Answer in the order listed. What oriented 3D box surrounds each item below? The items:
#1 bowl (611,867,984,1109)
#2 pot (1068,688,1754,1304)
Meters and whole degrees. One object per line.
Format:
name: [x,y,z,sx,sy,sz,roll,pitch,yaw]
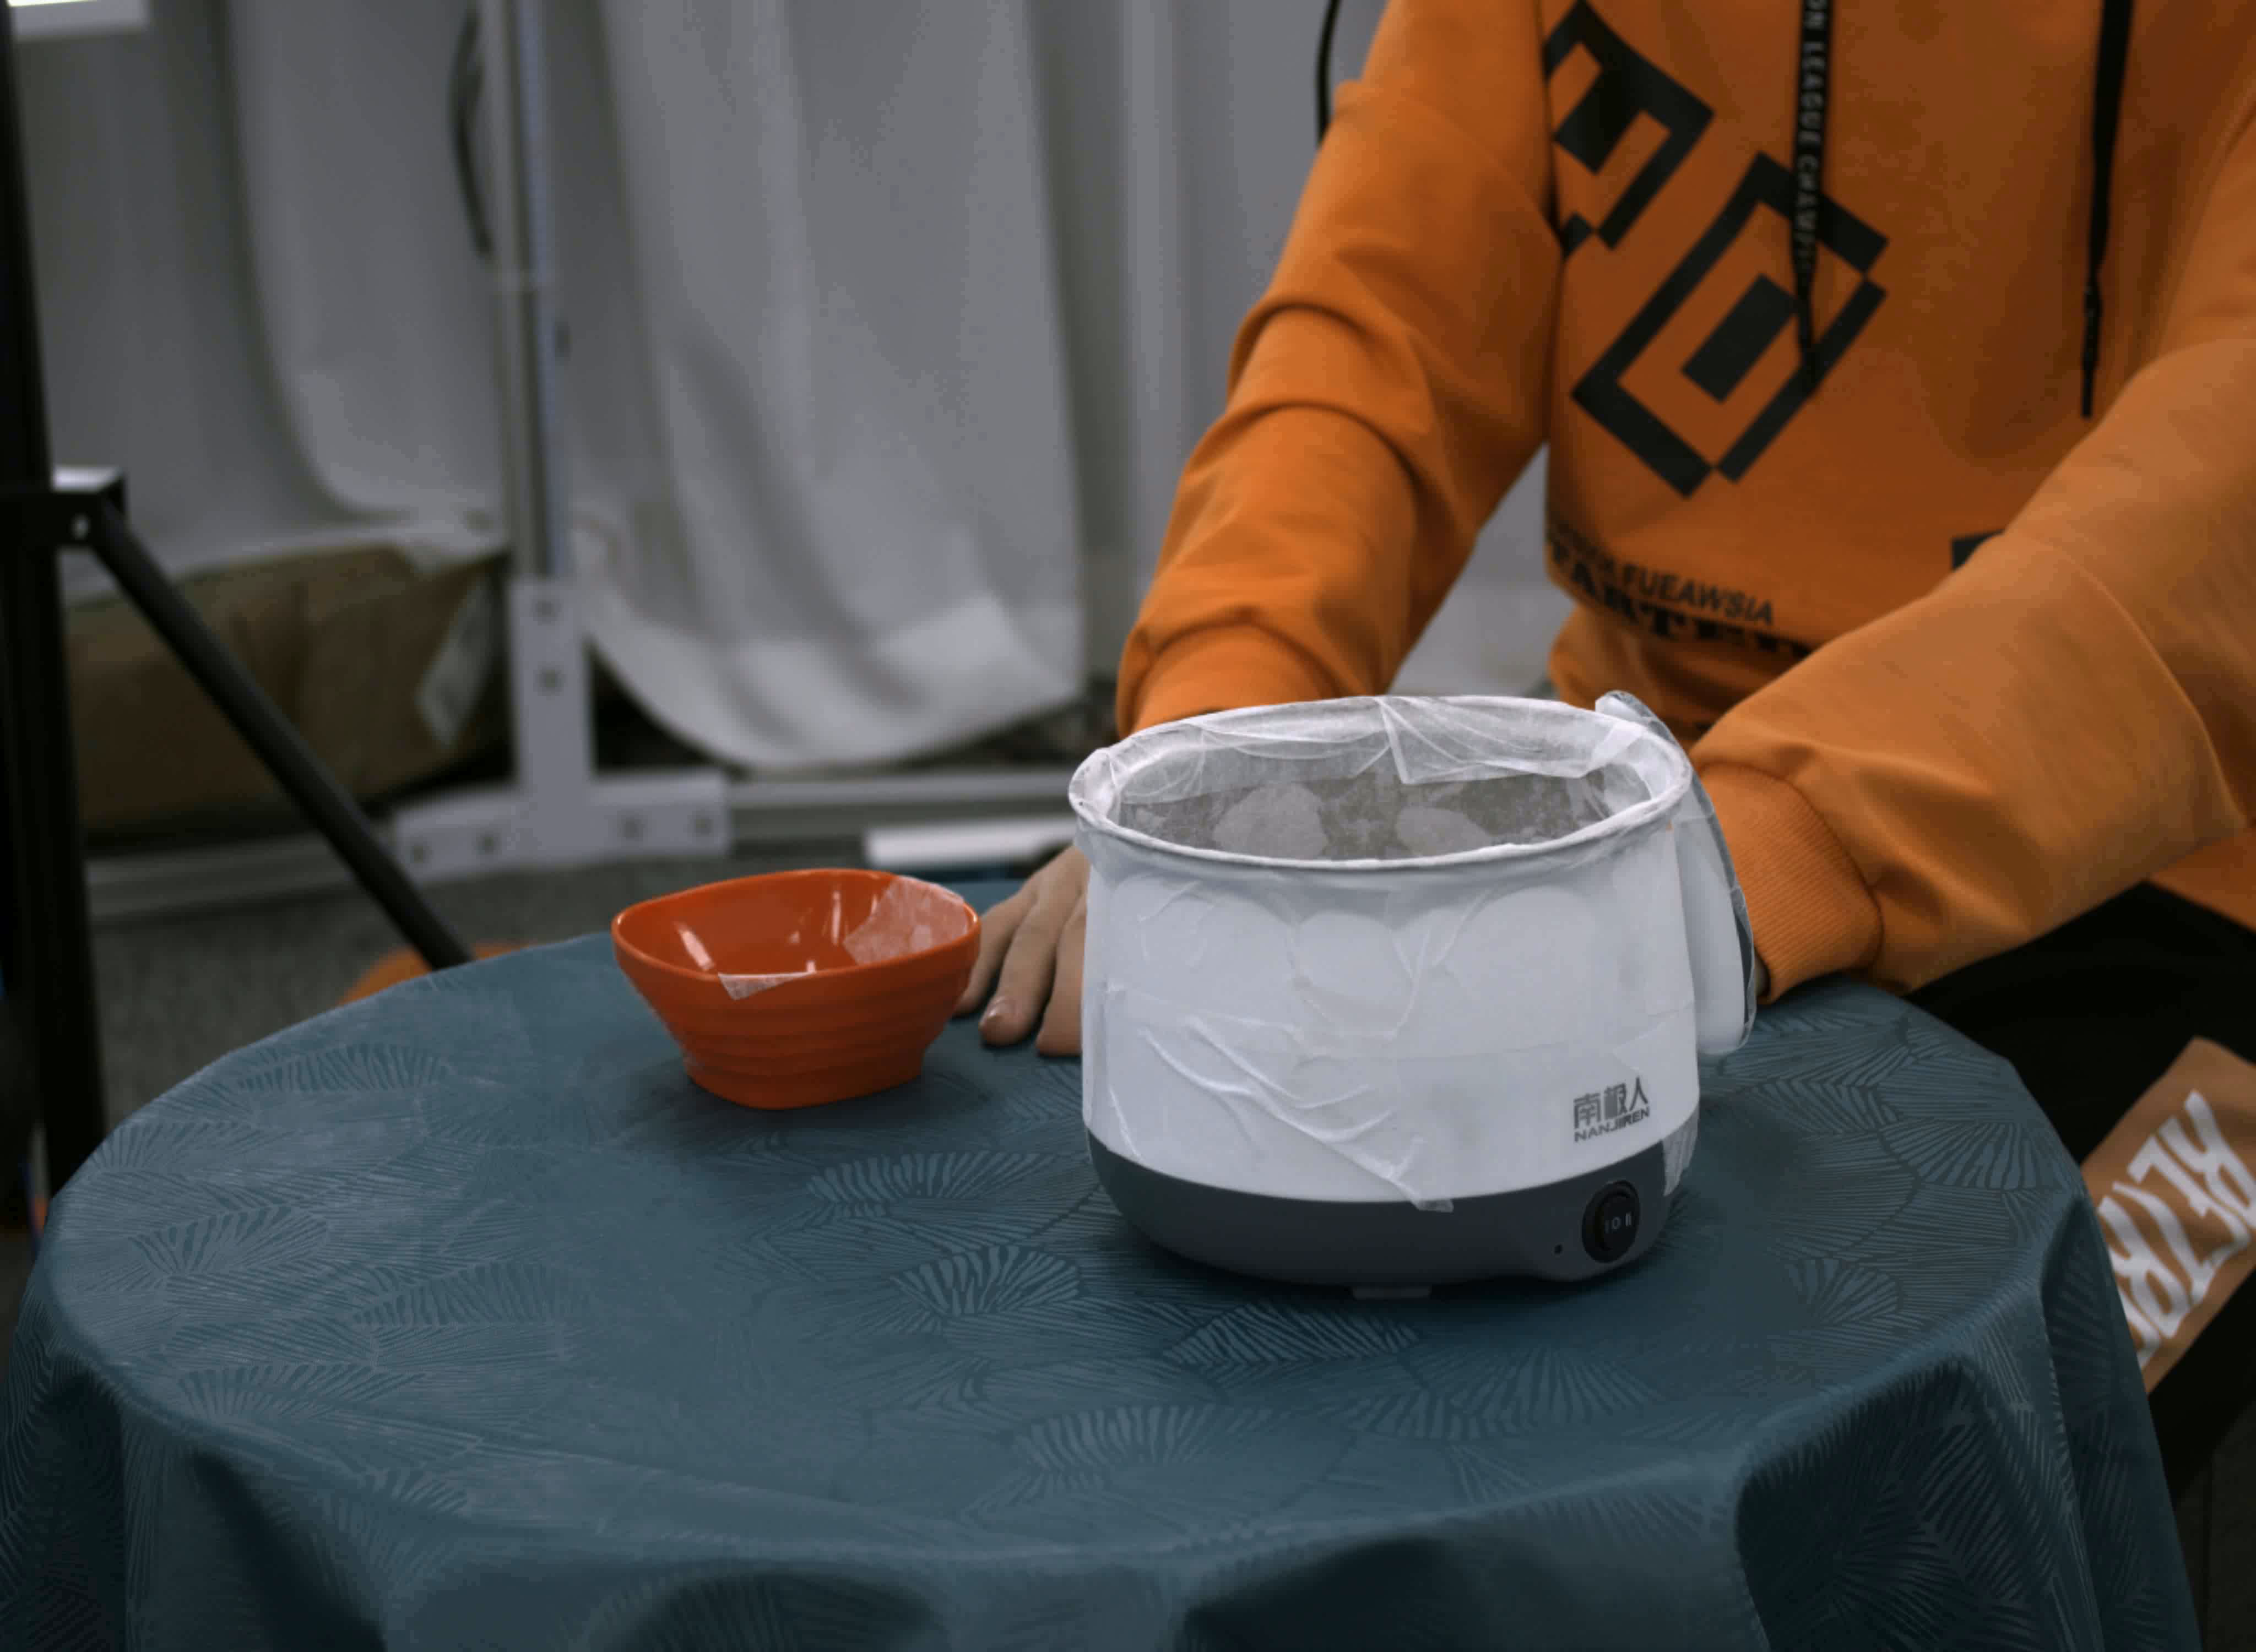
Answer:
bowl: [-0.102,0.053,1.675,0.118,0.051,0.119,-4,15,0]
pot: [0.093,0.041,1.527,0.228,0.136,0.183,-16,21,-40]
